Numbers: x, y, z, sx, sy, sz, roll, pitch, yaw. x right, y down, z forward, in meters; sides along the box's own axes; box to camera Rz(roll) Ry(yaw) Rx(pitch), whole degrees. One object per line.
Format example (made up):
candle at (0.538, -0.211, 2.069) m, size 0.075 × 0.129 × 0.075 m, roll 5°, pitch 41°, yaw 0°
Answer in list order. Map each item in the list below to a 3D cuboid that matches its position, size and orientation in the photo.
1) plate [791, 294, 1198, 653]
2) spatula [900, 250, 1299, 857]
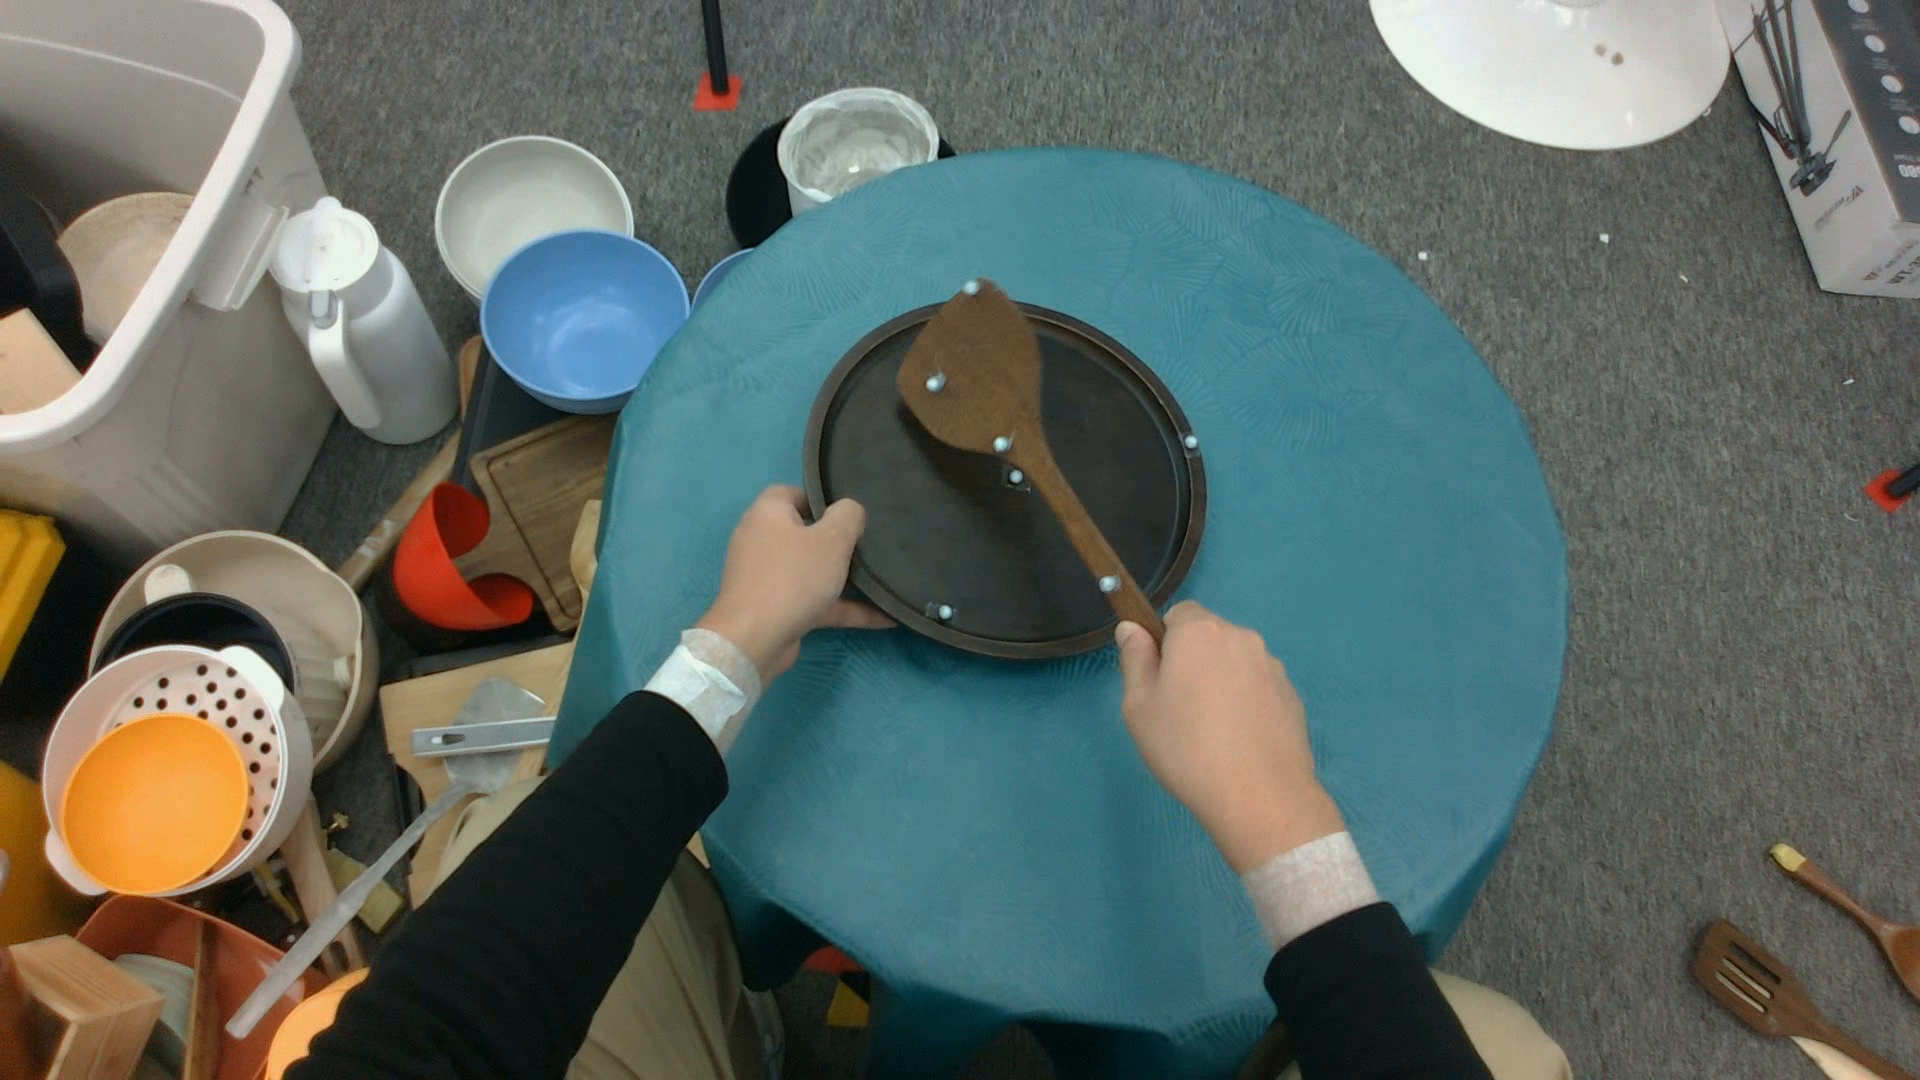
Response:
plate at (0.022, -0.046, 0.847) m, size 0.255 × 0.029 × 0.256 m, roll 5°, pitch 60°, yaw -9°
spatula at (0.074, -0.003, 0.740) m, size 0.096 × 0.016 × 0.387 m, roll -38°, pitch 60°, yaw 18°
